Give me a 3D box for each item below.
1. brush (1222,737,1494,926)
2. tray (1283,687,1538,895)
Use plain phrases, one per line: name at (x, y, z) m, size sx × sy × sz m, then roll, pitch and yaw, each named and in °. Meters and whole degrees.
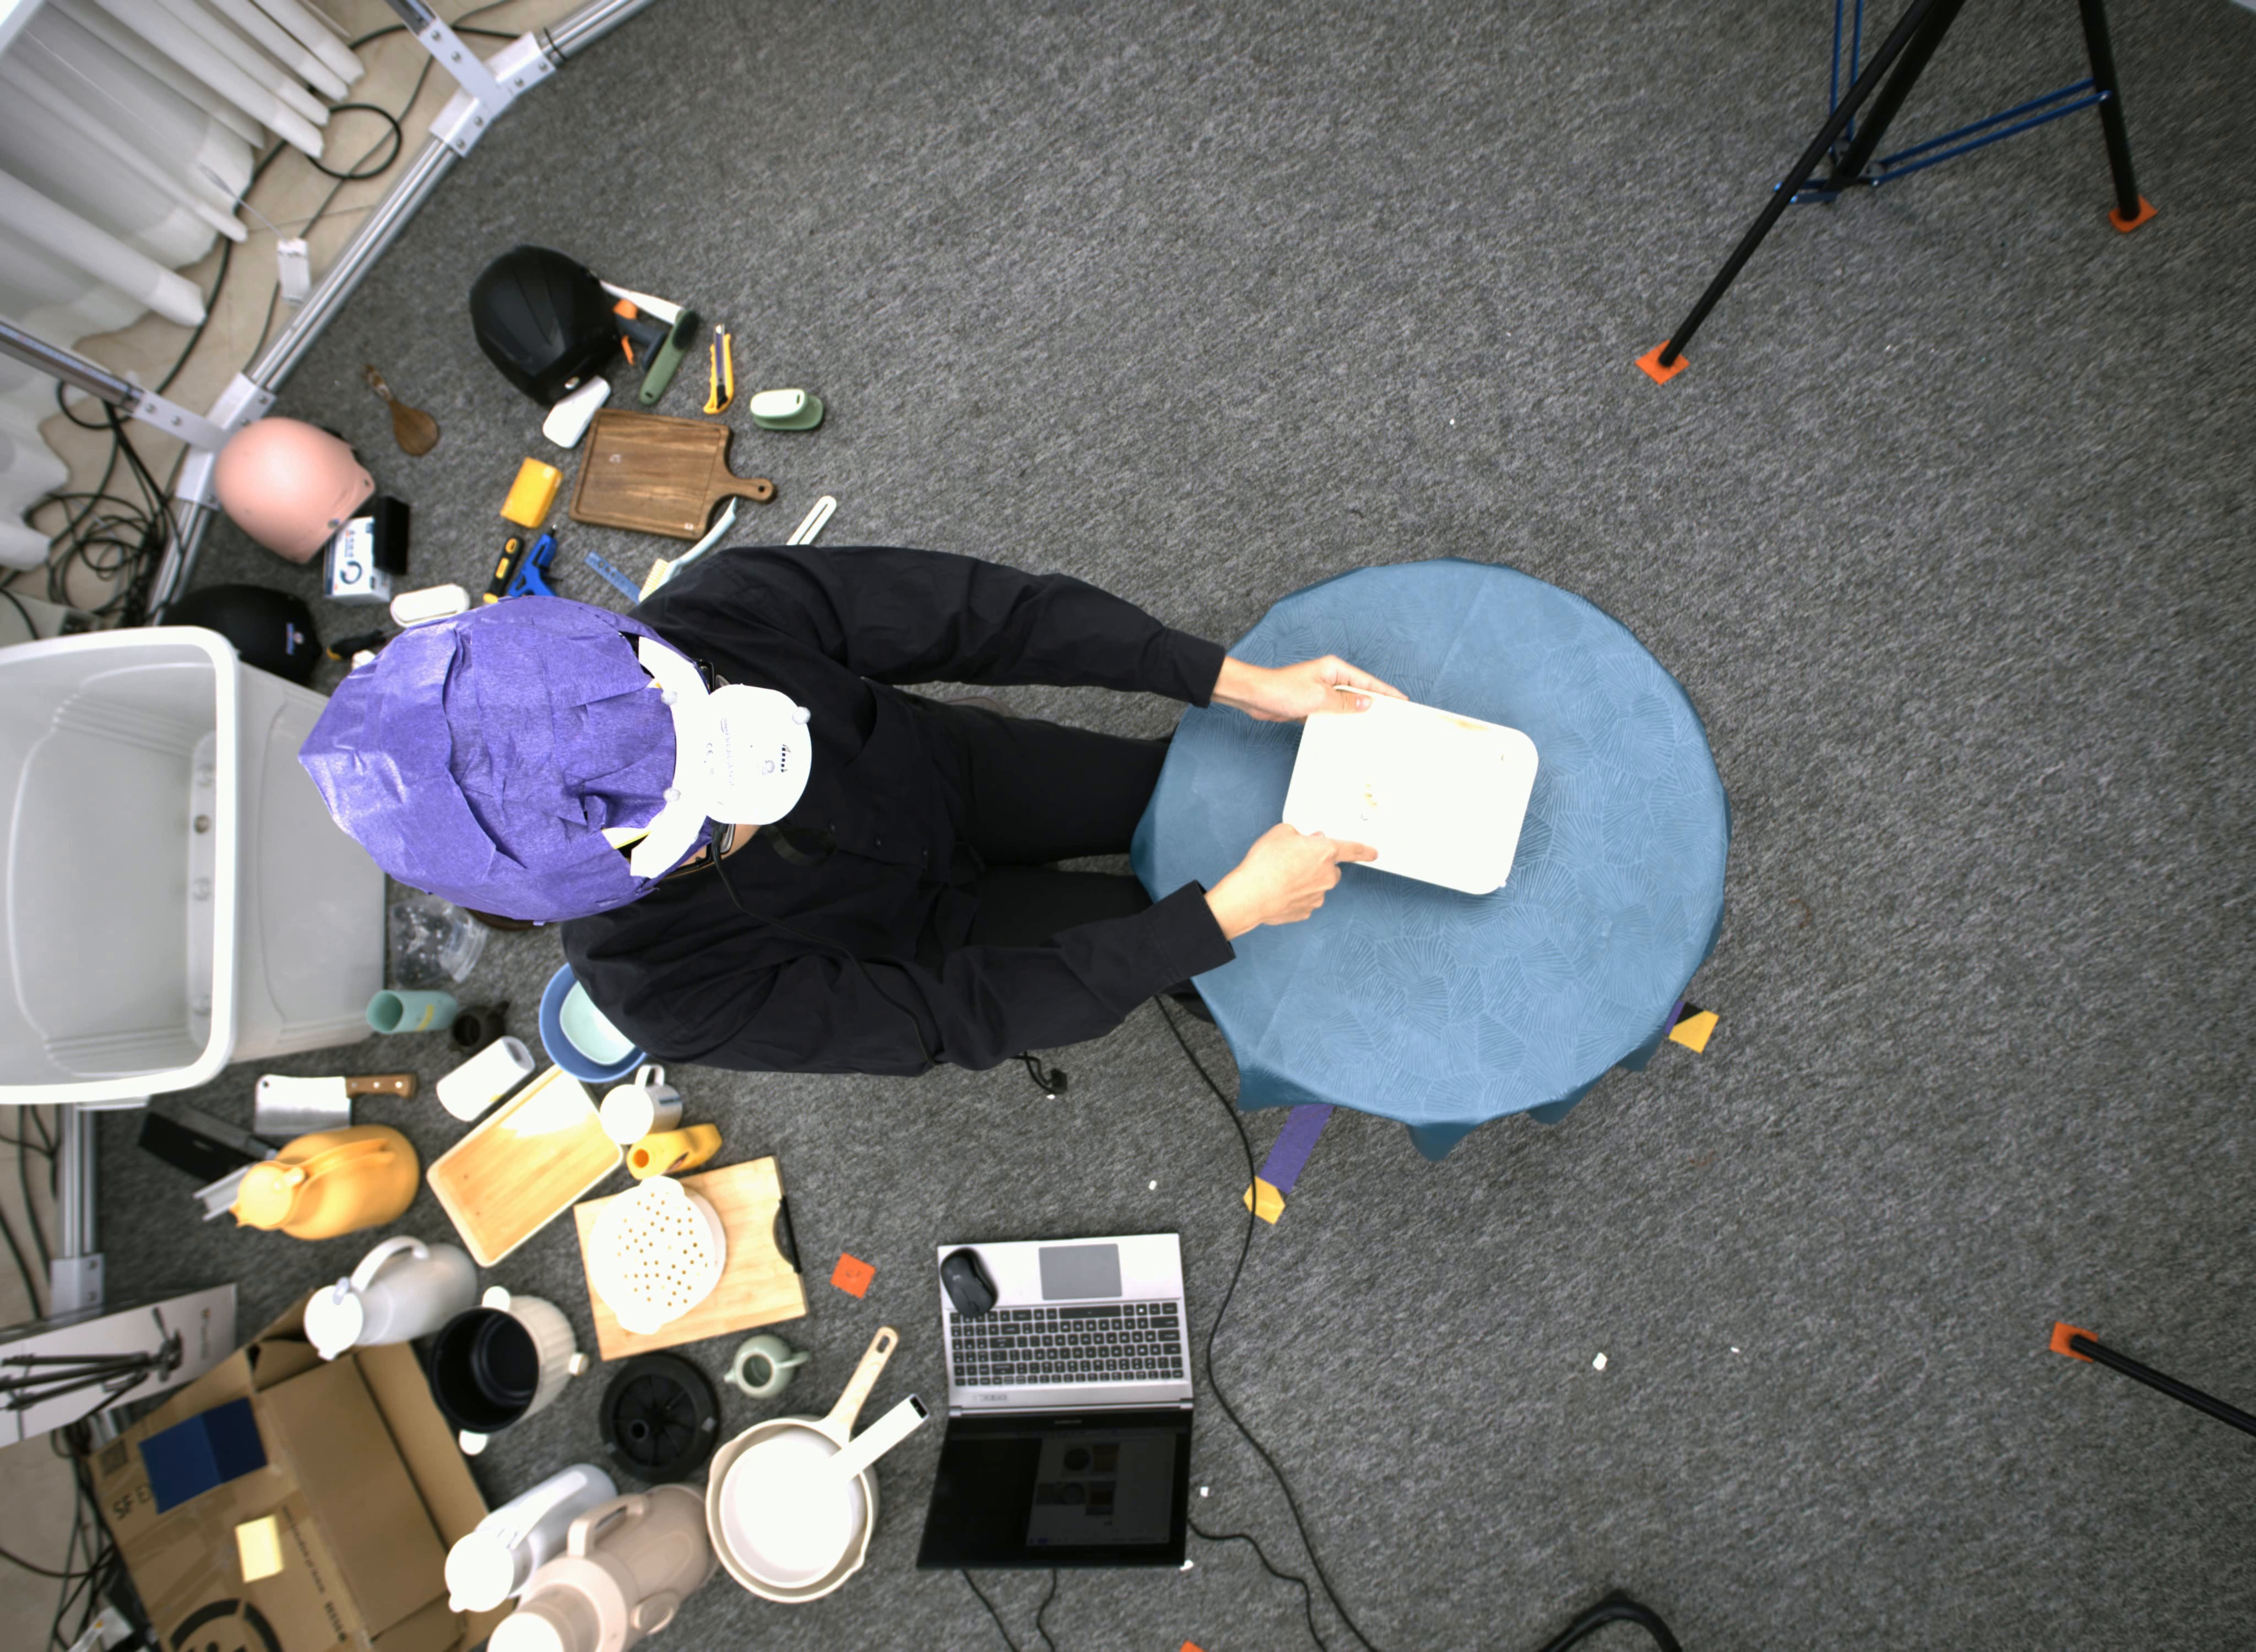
brush at (0.217, 0.001, 1.353) m, size 0.323 × 0.086 × 0.082 m, roll -32°, pitch 57°, yaw -10°
tray at (0.283, -0.036, 1.386) m, size 0.240 × 0.017 × 0.172 m, roll 14°, pitch 95°, yaw -2°
